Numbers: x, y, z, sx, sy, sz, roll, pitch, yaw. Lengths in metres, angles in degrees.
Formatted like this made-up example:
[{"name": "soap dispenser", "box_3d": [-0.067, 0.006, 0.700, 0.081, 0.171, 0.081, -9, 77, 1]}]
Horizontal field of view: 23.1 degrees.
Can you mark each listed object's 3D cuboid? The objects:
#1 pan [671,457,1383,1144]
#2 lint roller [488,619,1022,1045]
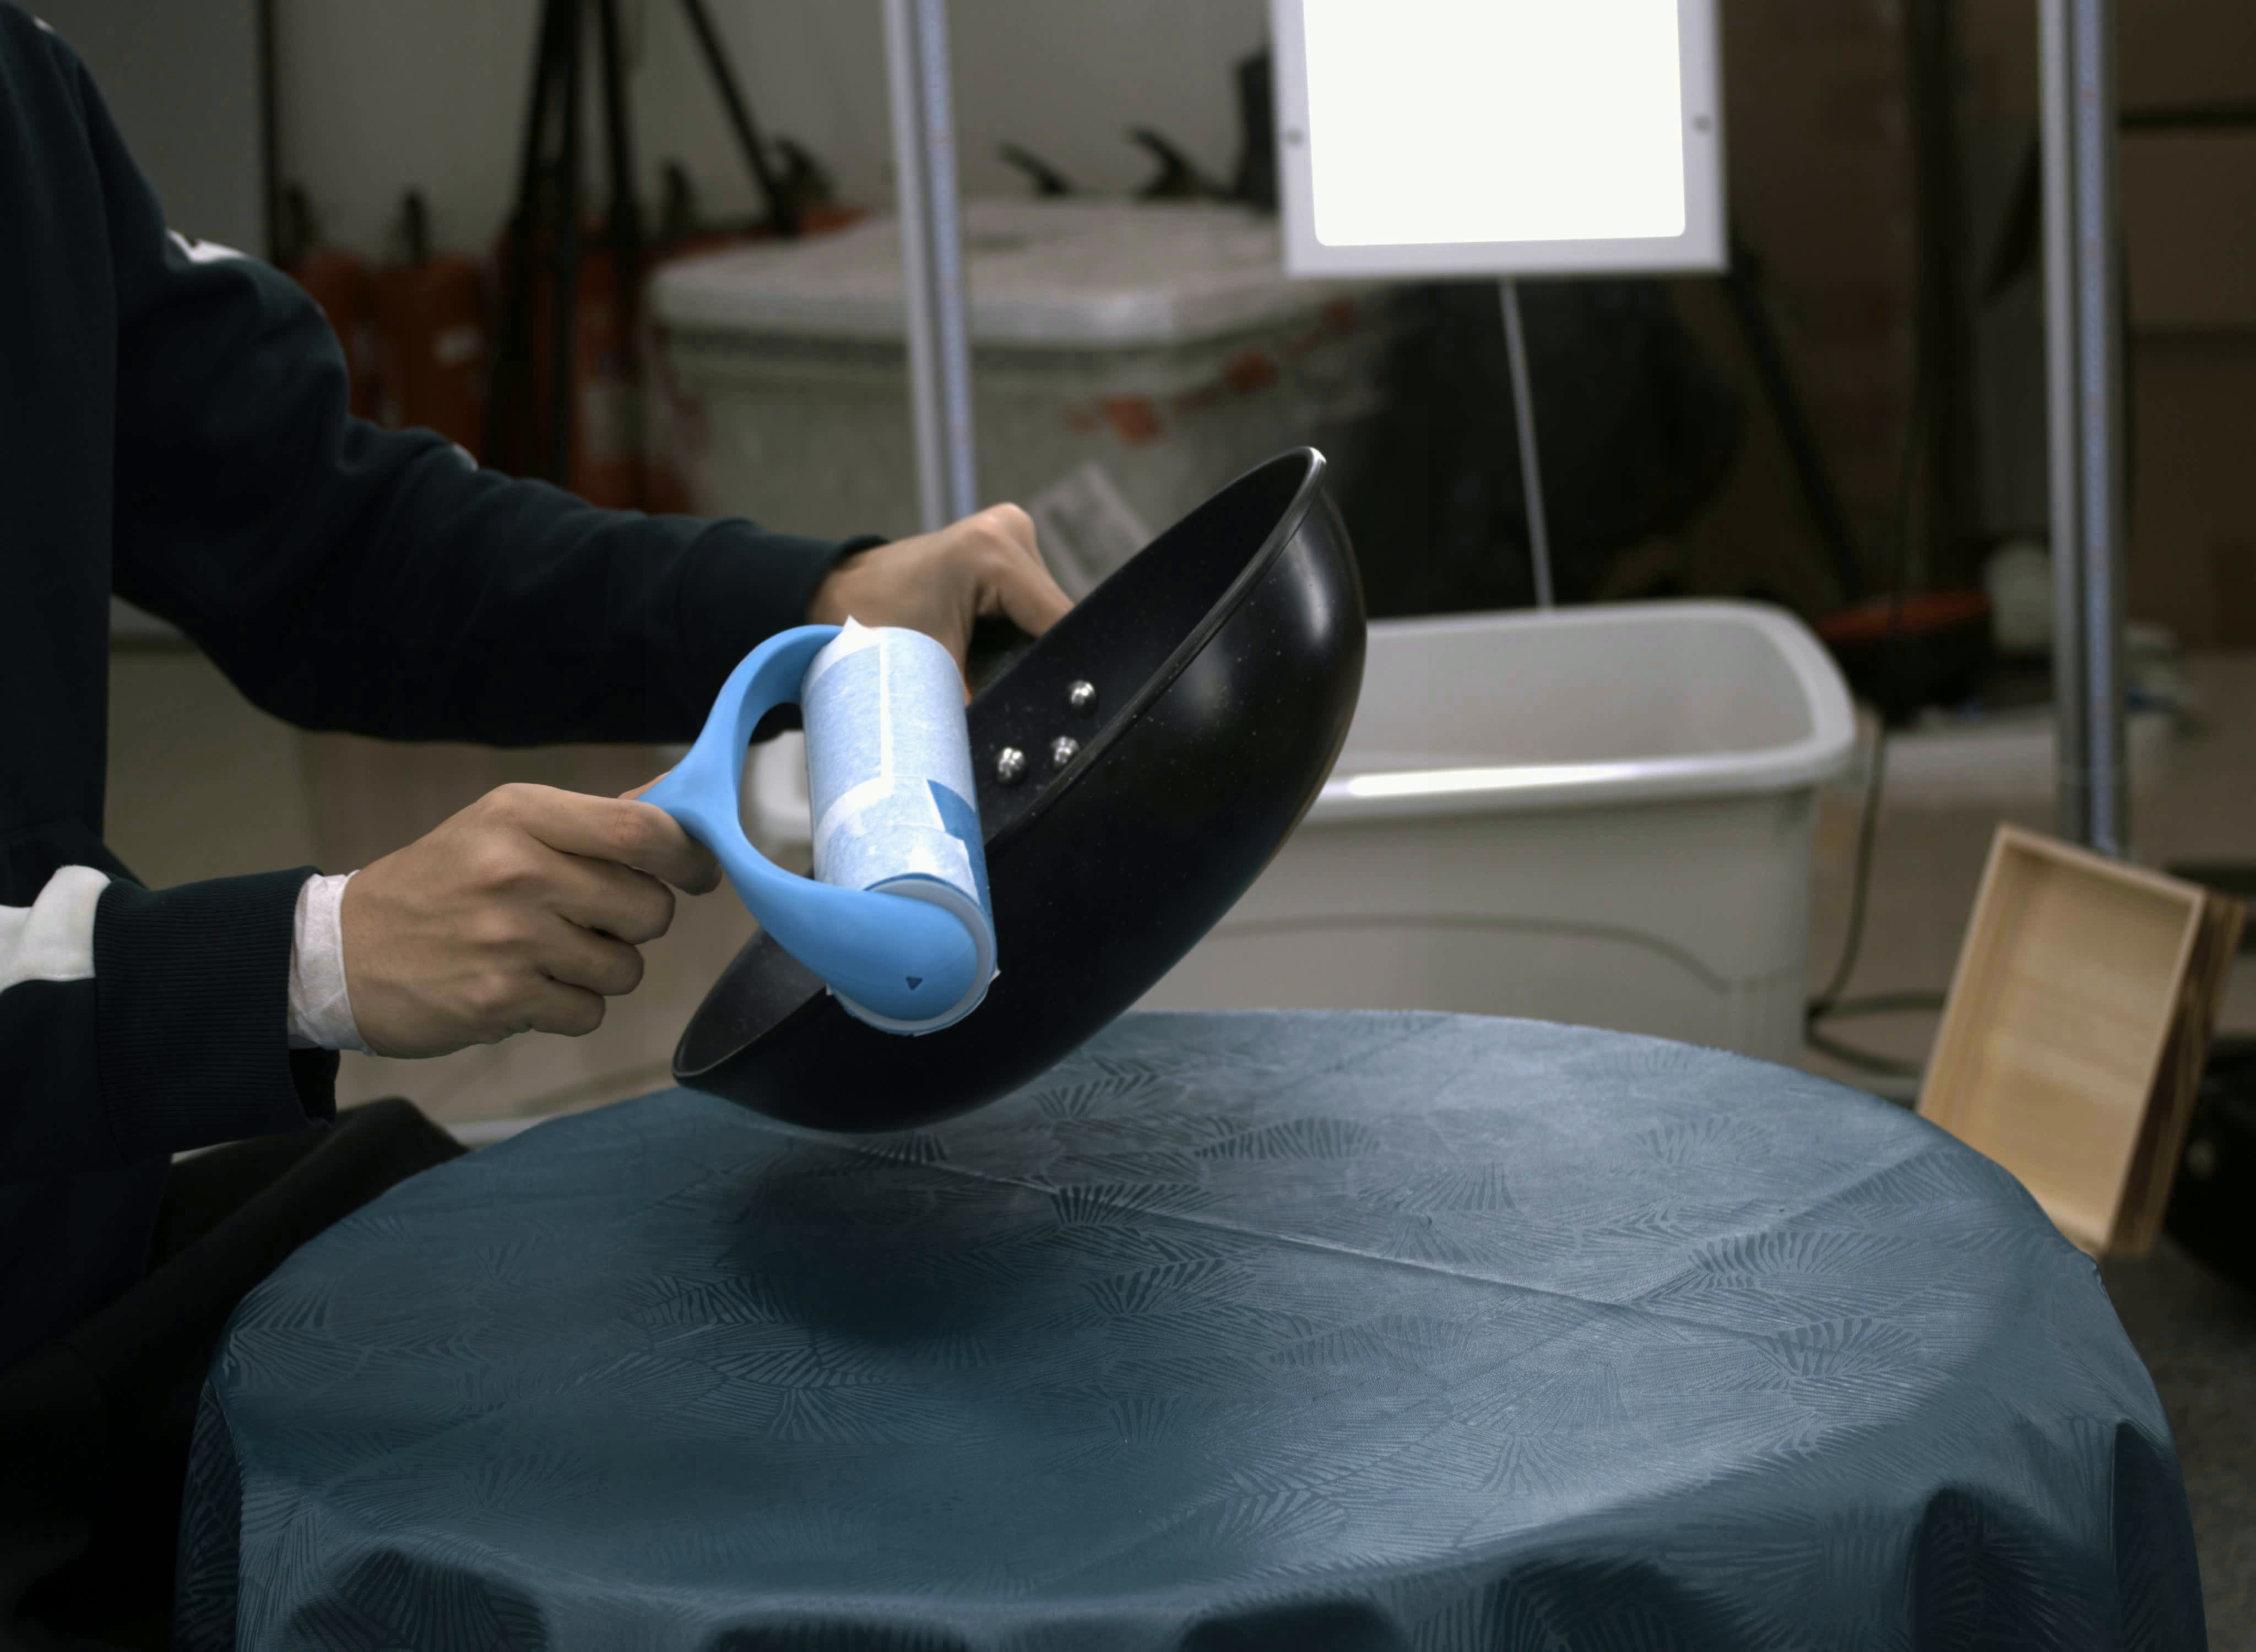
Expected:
[{"name": "pan", "box_3d": [-0.026, -0.016, 1.964, 0.312, 0.111, 0.476, -42, 9, 8]}, {"name": "lint roller", "box_3d": [-0.126, 0.014, 1.735, 0.180, 0.068, 0.229, -20, 27, 1]}]
